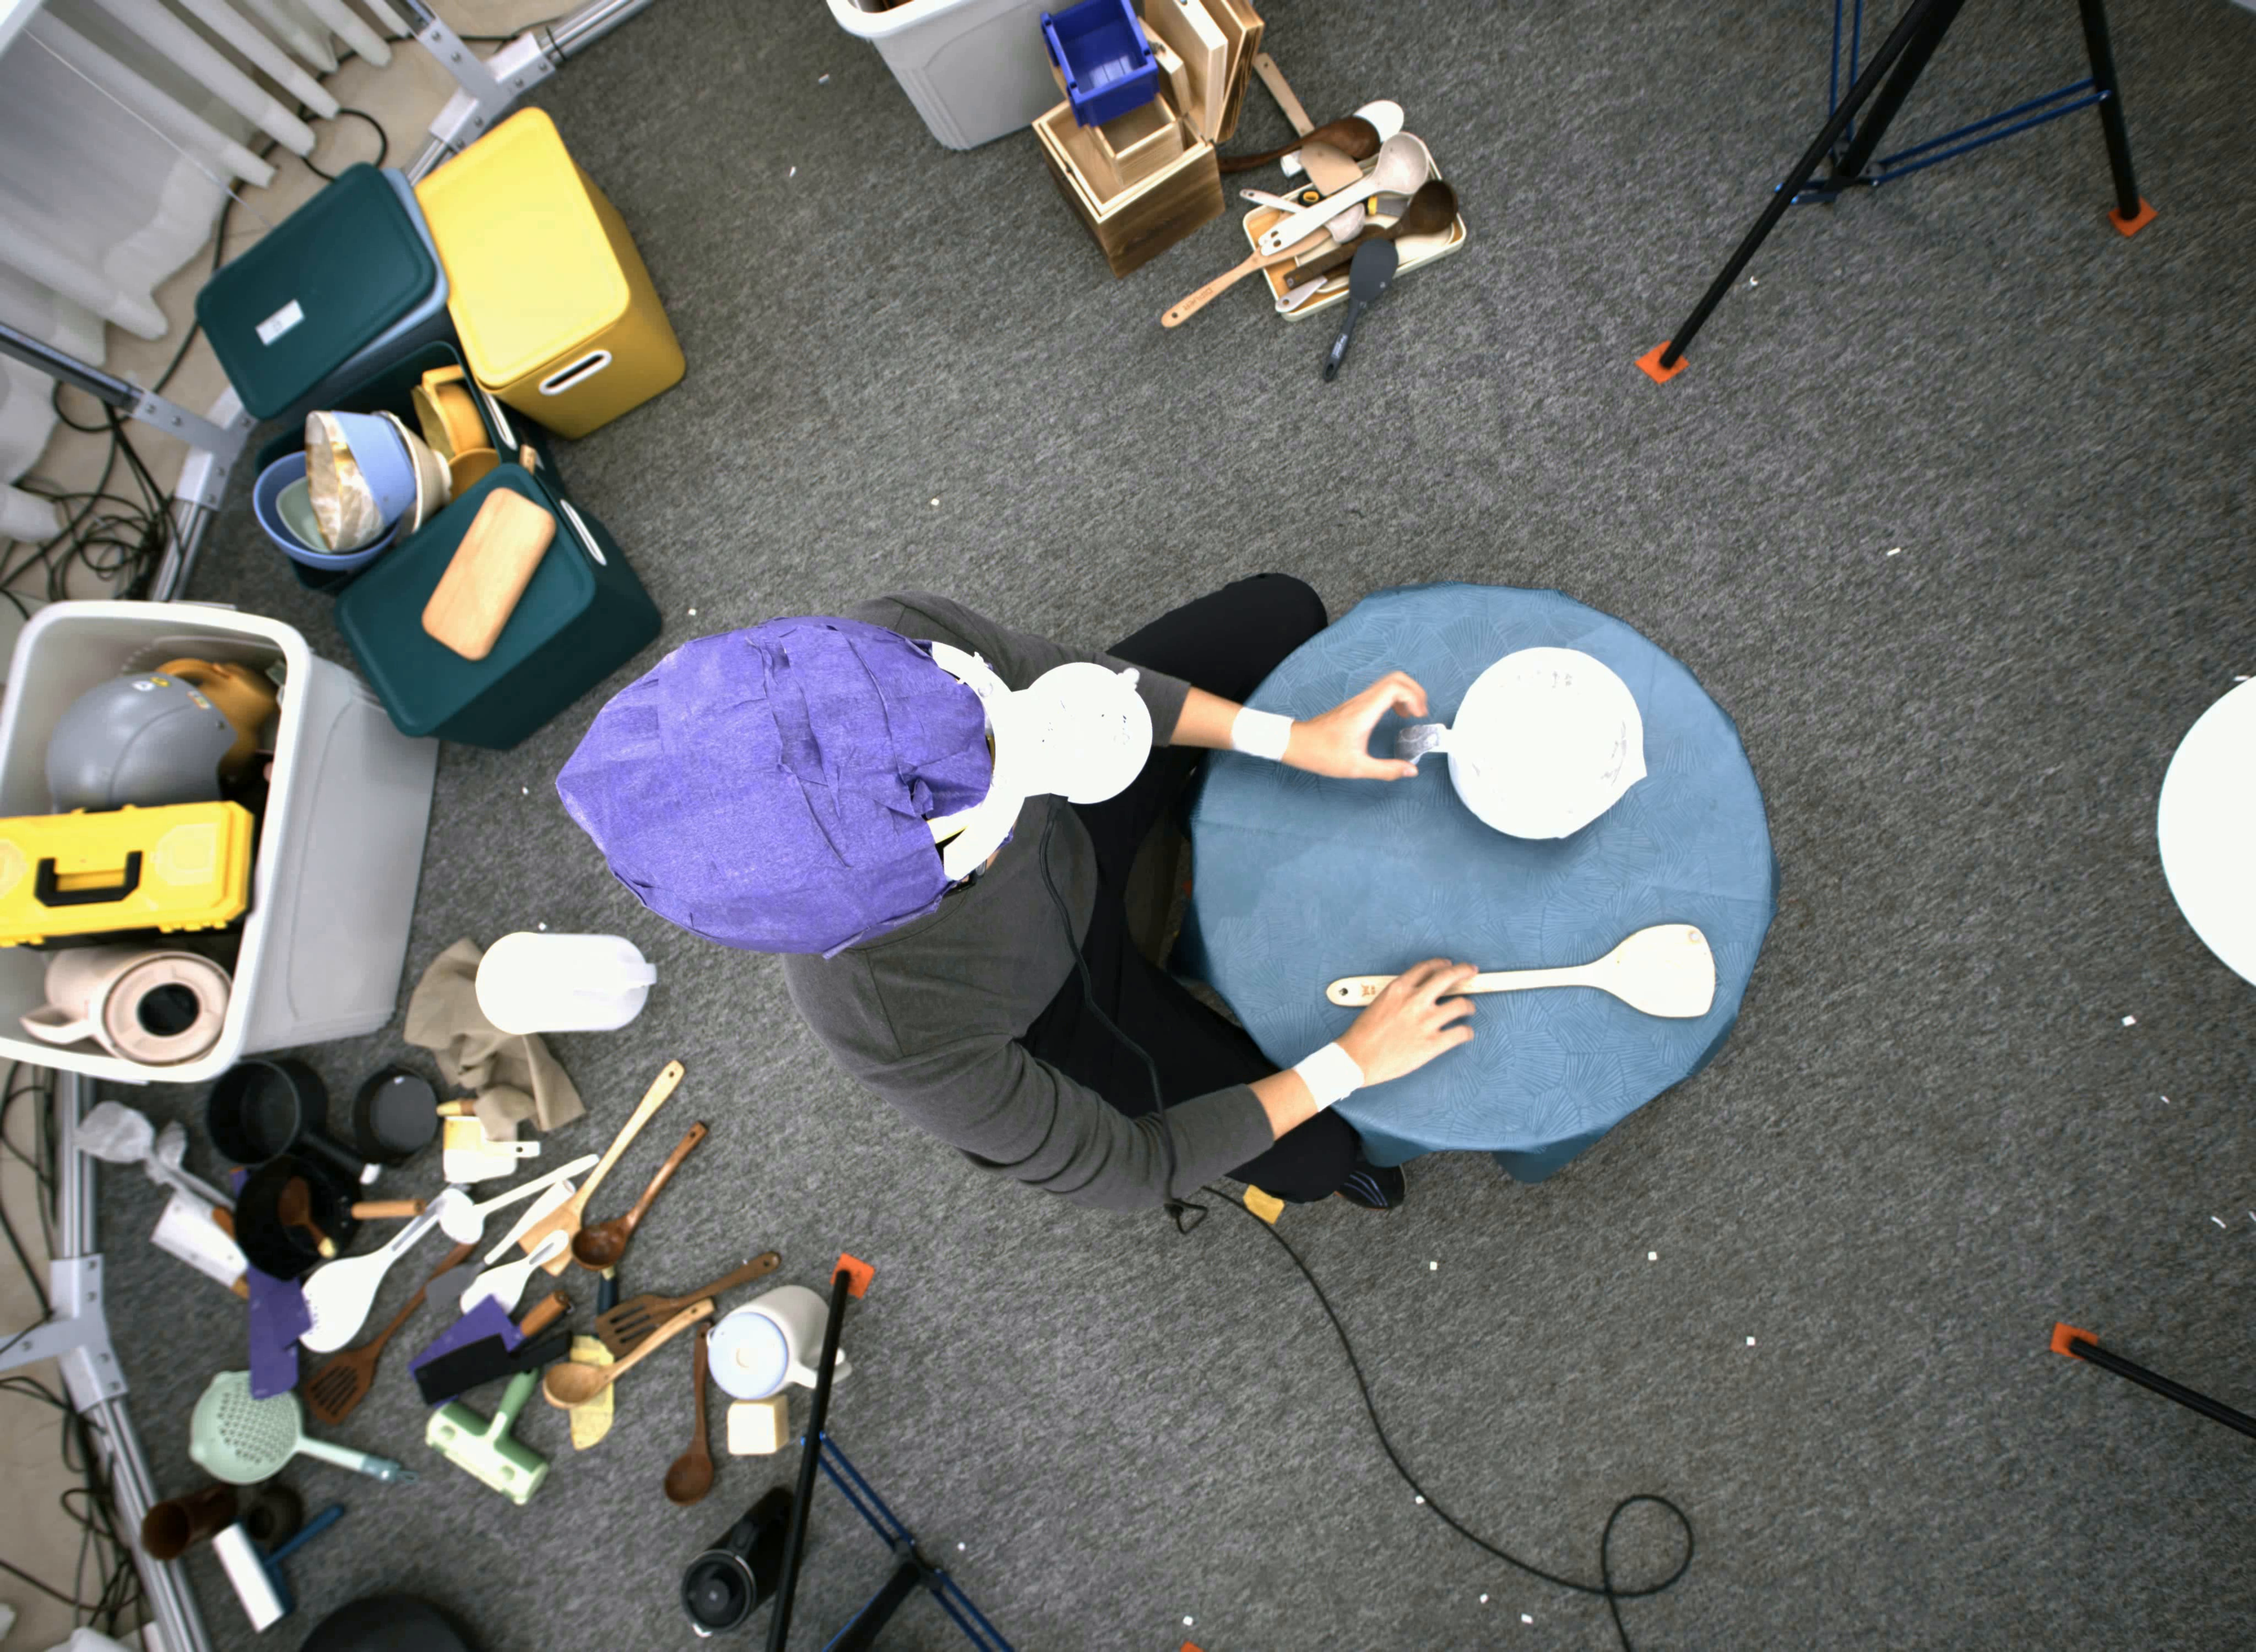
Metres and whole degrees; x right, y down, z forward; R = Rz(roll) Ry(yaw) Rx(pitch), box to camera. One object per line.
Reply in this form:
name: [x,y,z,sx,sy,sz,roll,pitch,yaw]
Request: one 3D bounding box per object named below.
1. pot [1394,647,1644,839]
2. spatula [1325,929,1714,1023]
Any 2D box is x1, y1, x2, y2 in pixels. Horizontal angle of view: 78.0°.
pot: [0.386,-0.081,1.377,0.234,0.137,0.178,1,86,11]
spatula: [0.400,0.163,1.421,0.392,0.018,0.095,-5,84,10]
